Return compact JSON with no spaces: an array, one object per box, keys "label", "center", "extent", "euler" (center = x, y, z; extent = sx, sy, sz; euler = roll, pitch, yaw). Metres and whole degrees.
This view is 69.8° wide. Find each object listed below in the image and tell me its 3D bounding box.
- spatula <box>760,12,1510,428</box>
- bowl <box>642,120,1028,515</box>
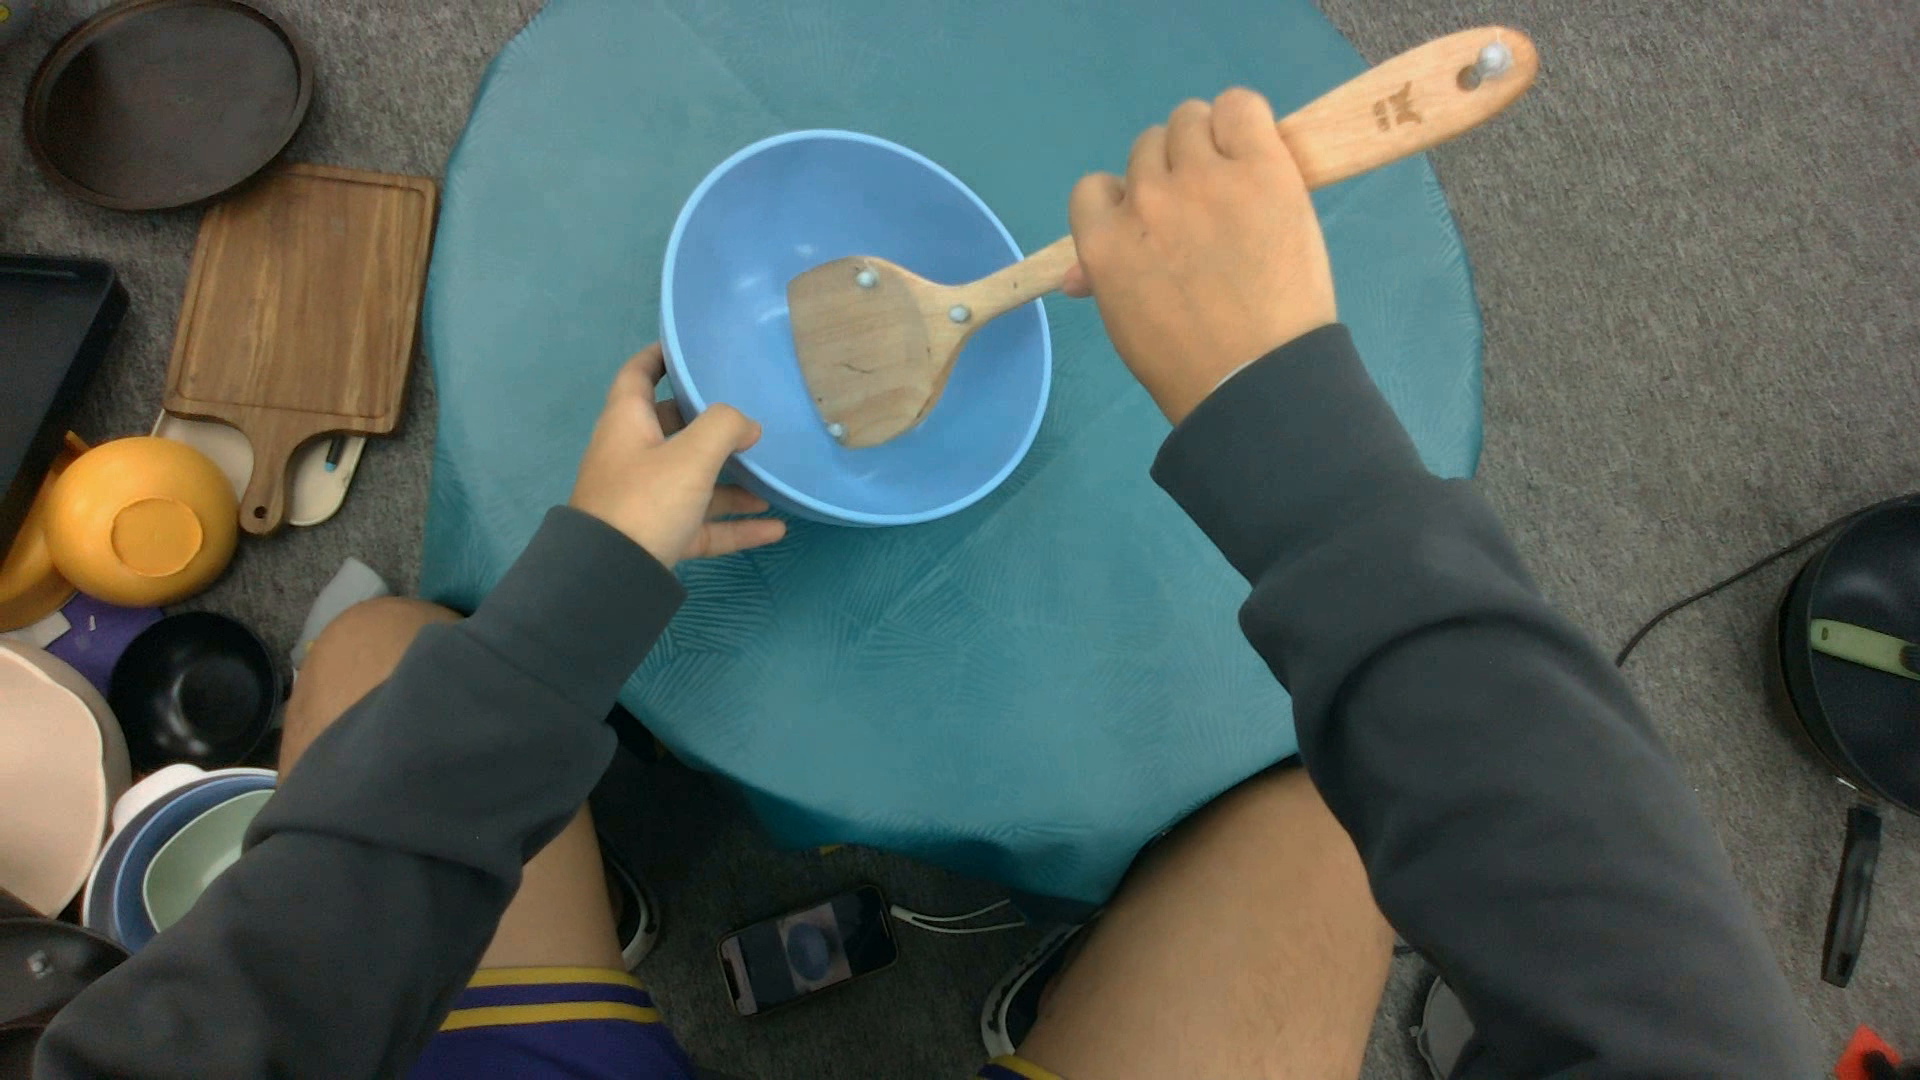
[{"label":"spatula","center":[0.037,-0.128,0.563],"extent":[0.018,0.389,0.095],"euler":[-27,99,-40]},{"label":"bowl","center":[-0.073,-0.097,0.687],"extent":[0.197,0.095,0.197],"euler":[9,71,-28]}]
